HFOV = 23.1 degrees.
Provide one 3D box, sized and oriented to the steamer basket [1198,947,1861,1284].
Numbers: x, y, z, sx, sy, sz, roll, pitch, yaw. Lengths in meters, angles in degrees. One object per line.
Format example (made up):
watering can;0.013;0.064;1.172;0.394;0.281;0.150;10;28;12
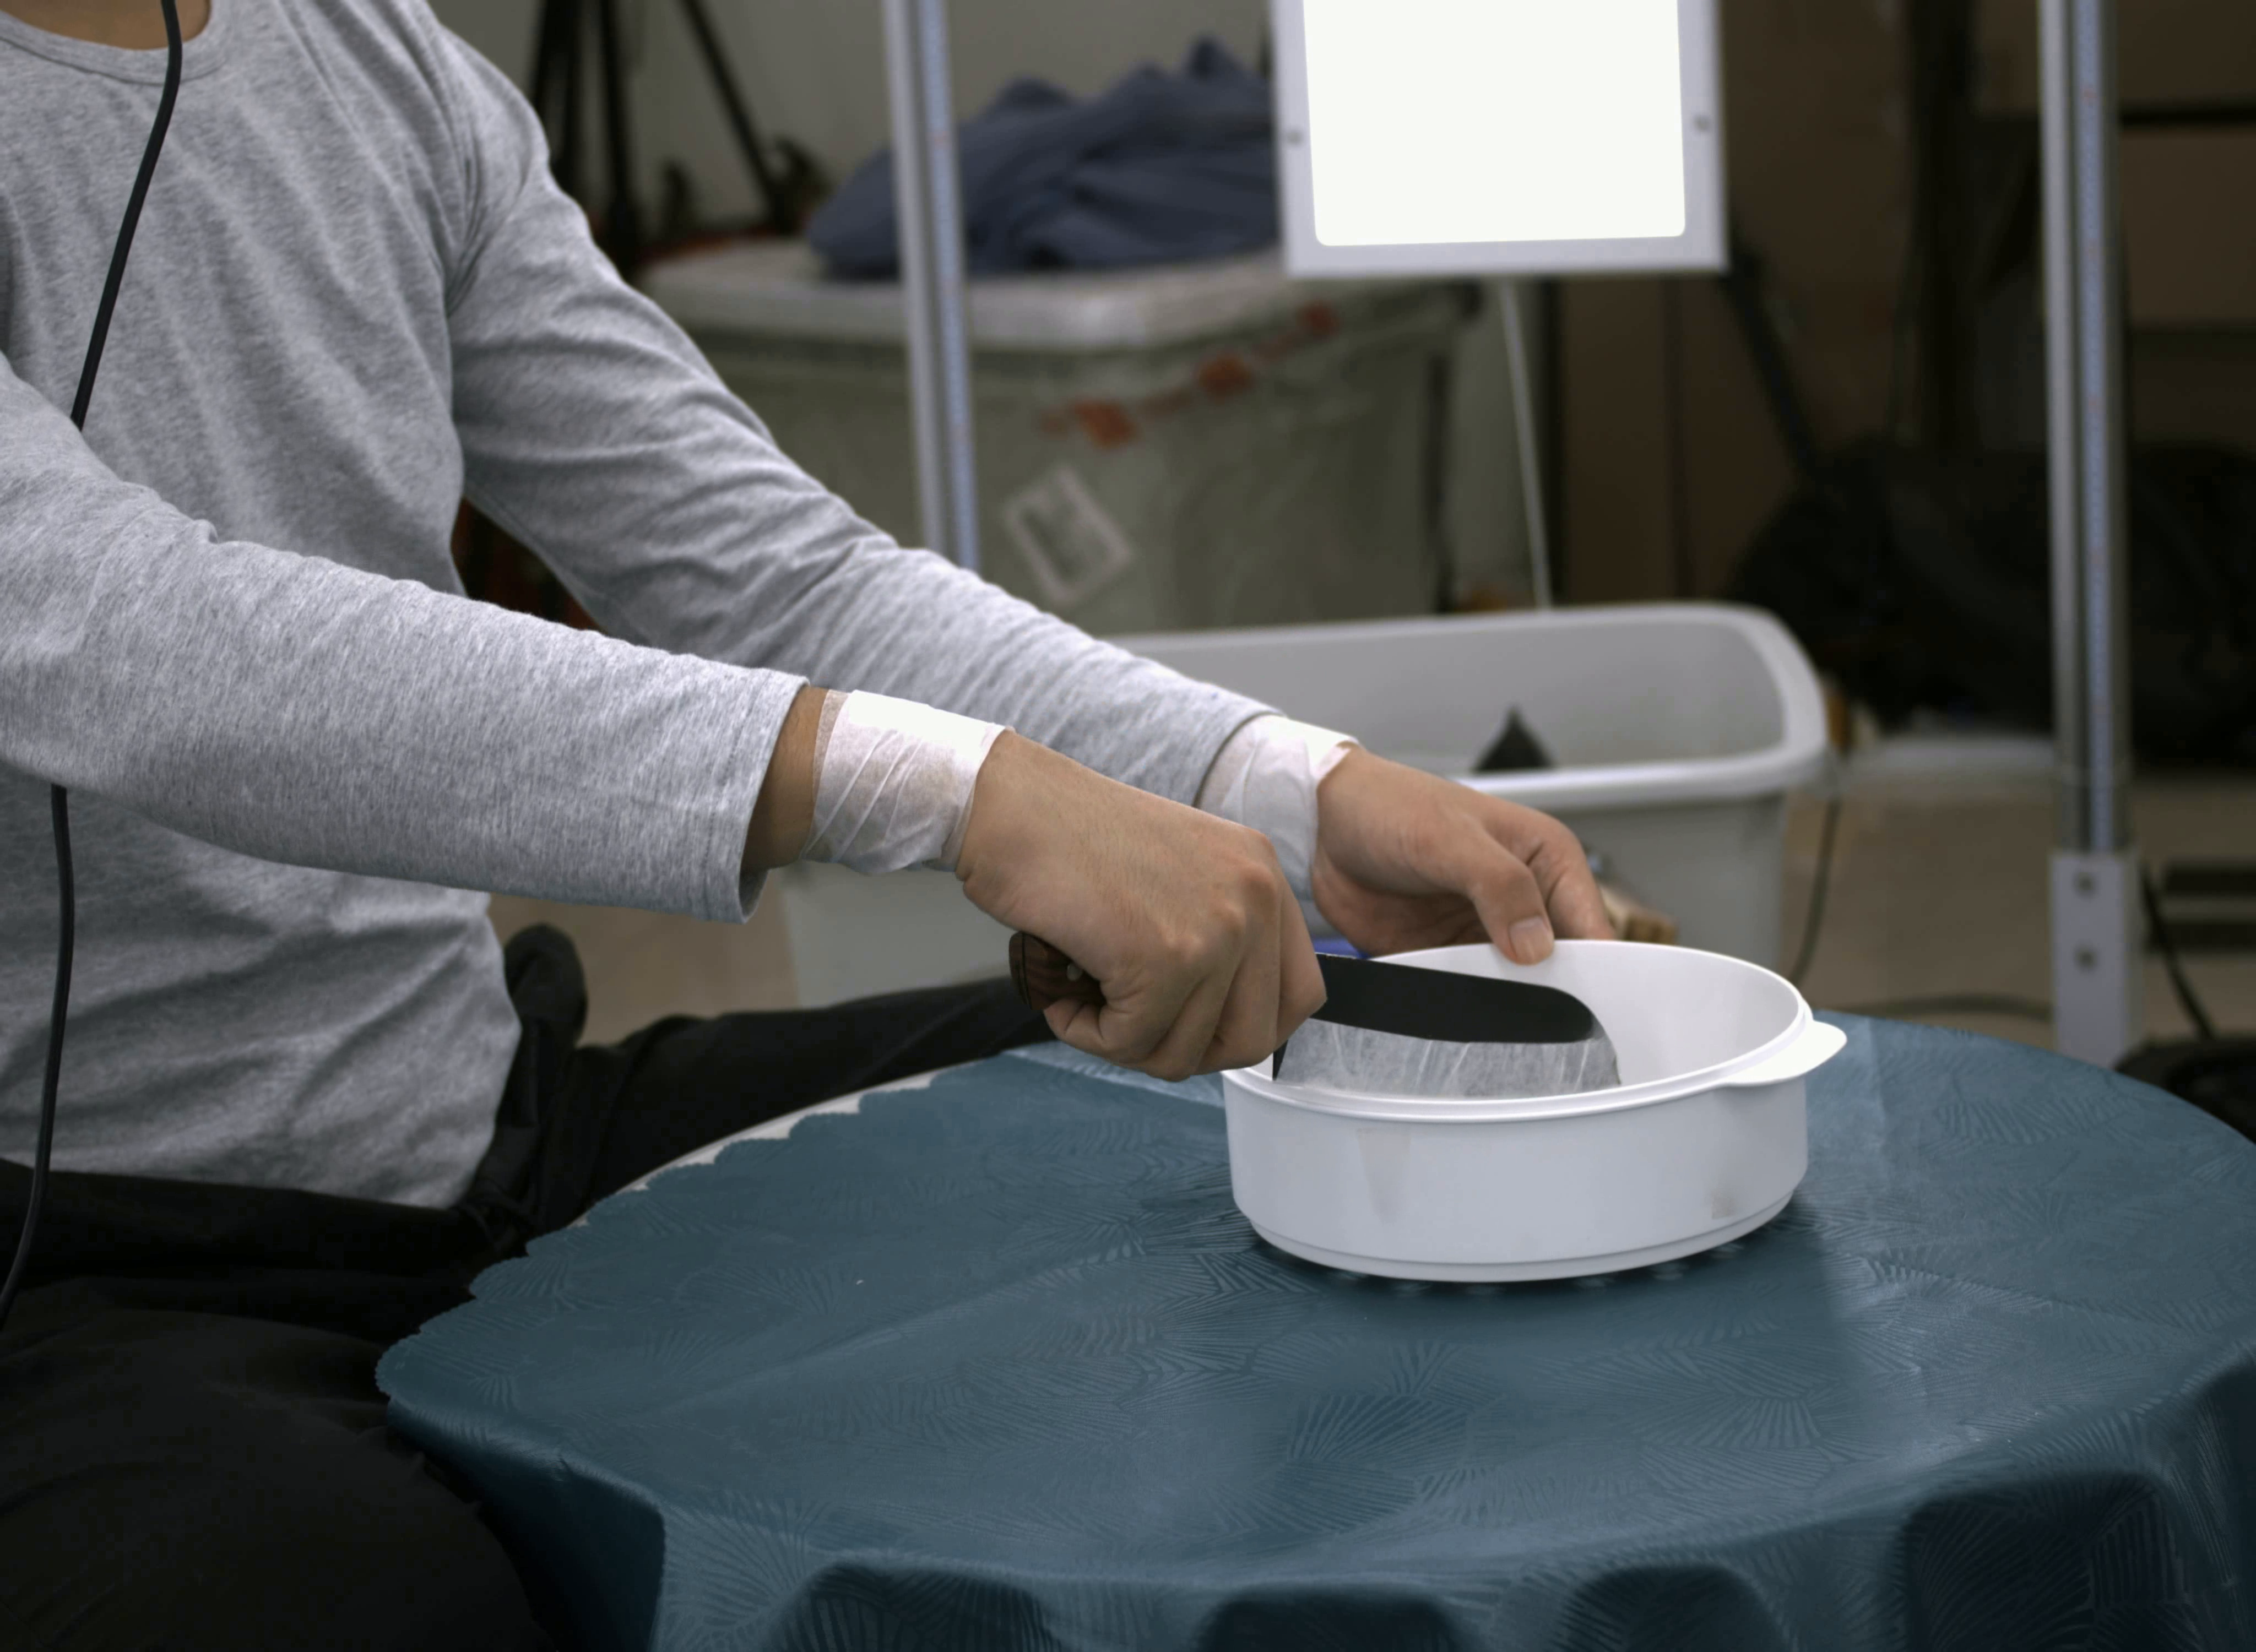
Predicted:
steamer basket;0.134;0.096;1.837;0.235;0.069;0.197;2;15;32

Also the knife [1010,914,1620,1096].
knife;0.068;0.060;1.777;0.282;0.050;0.020;13;7;-43
